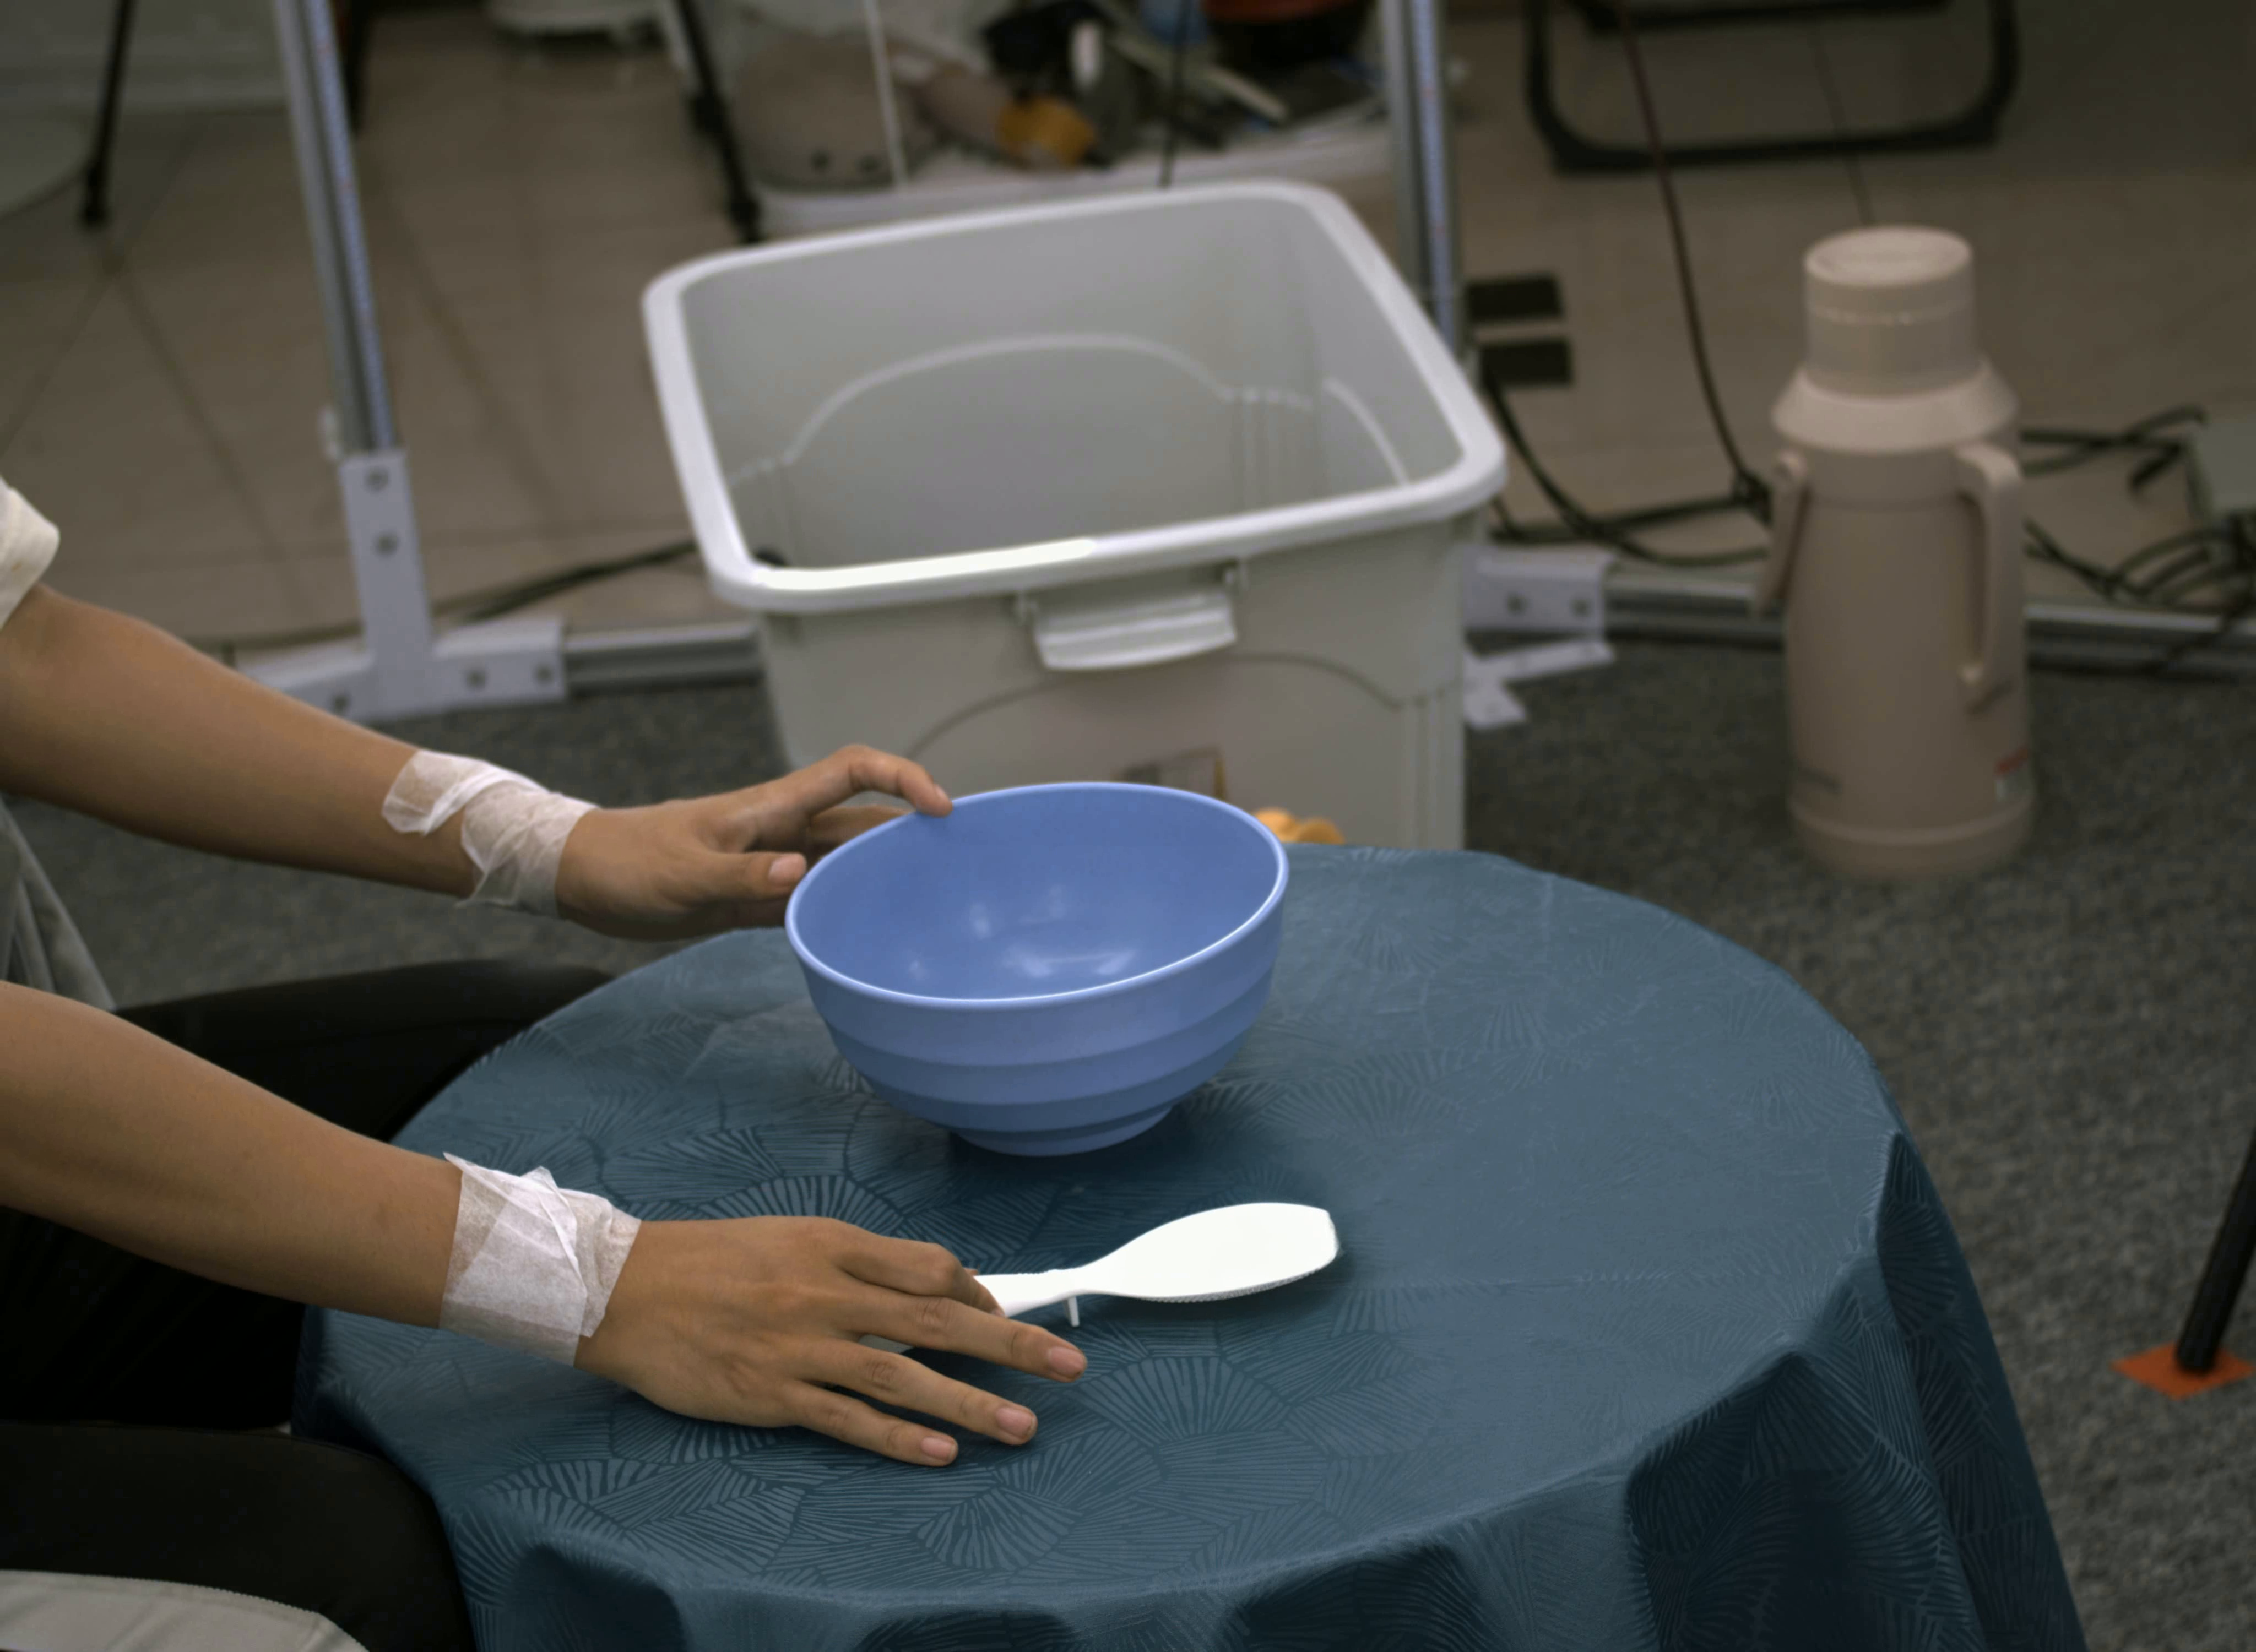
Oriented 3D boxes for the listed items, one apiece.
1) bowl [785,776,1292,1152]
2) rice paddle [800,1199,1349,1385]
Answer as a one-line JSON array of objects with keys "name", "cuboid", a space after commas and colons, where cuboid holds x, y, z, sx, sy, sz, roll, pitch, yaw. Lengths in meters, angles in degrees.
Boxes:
[{"name": "bowl", "cuboid": [-0.031, 0.064, 2.203, 0.196, 0.097, 0.193, -4, 26, 2]}, {"name": "rice paddle", "cuboid": [-0.017, 0.165, 2.064, 0.204, 0.030, 0.068, -12, 23, -12]}]
